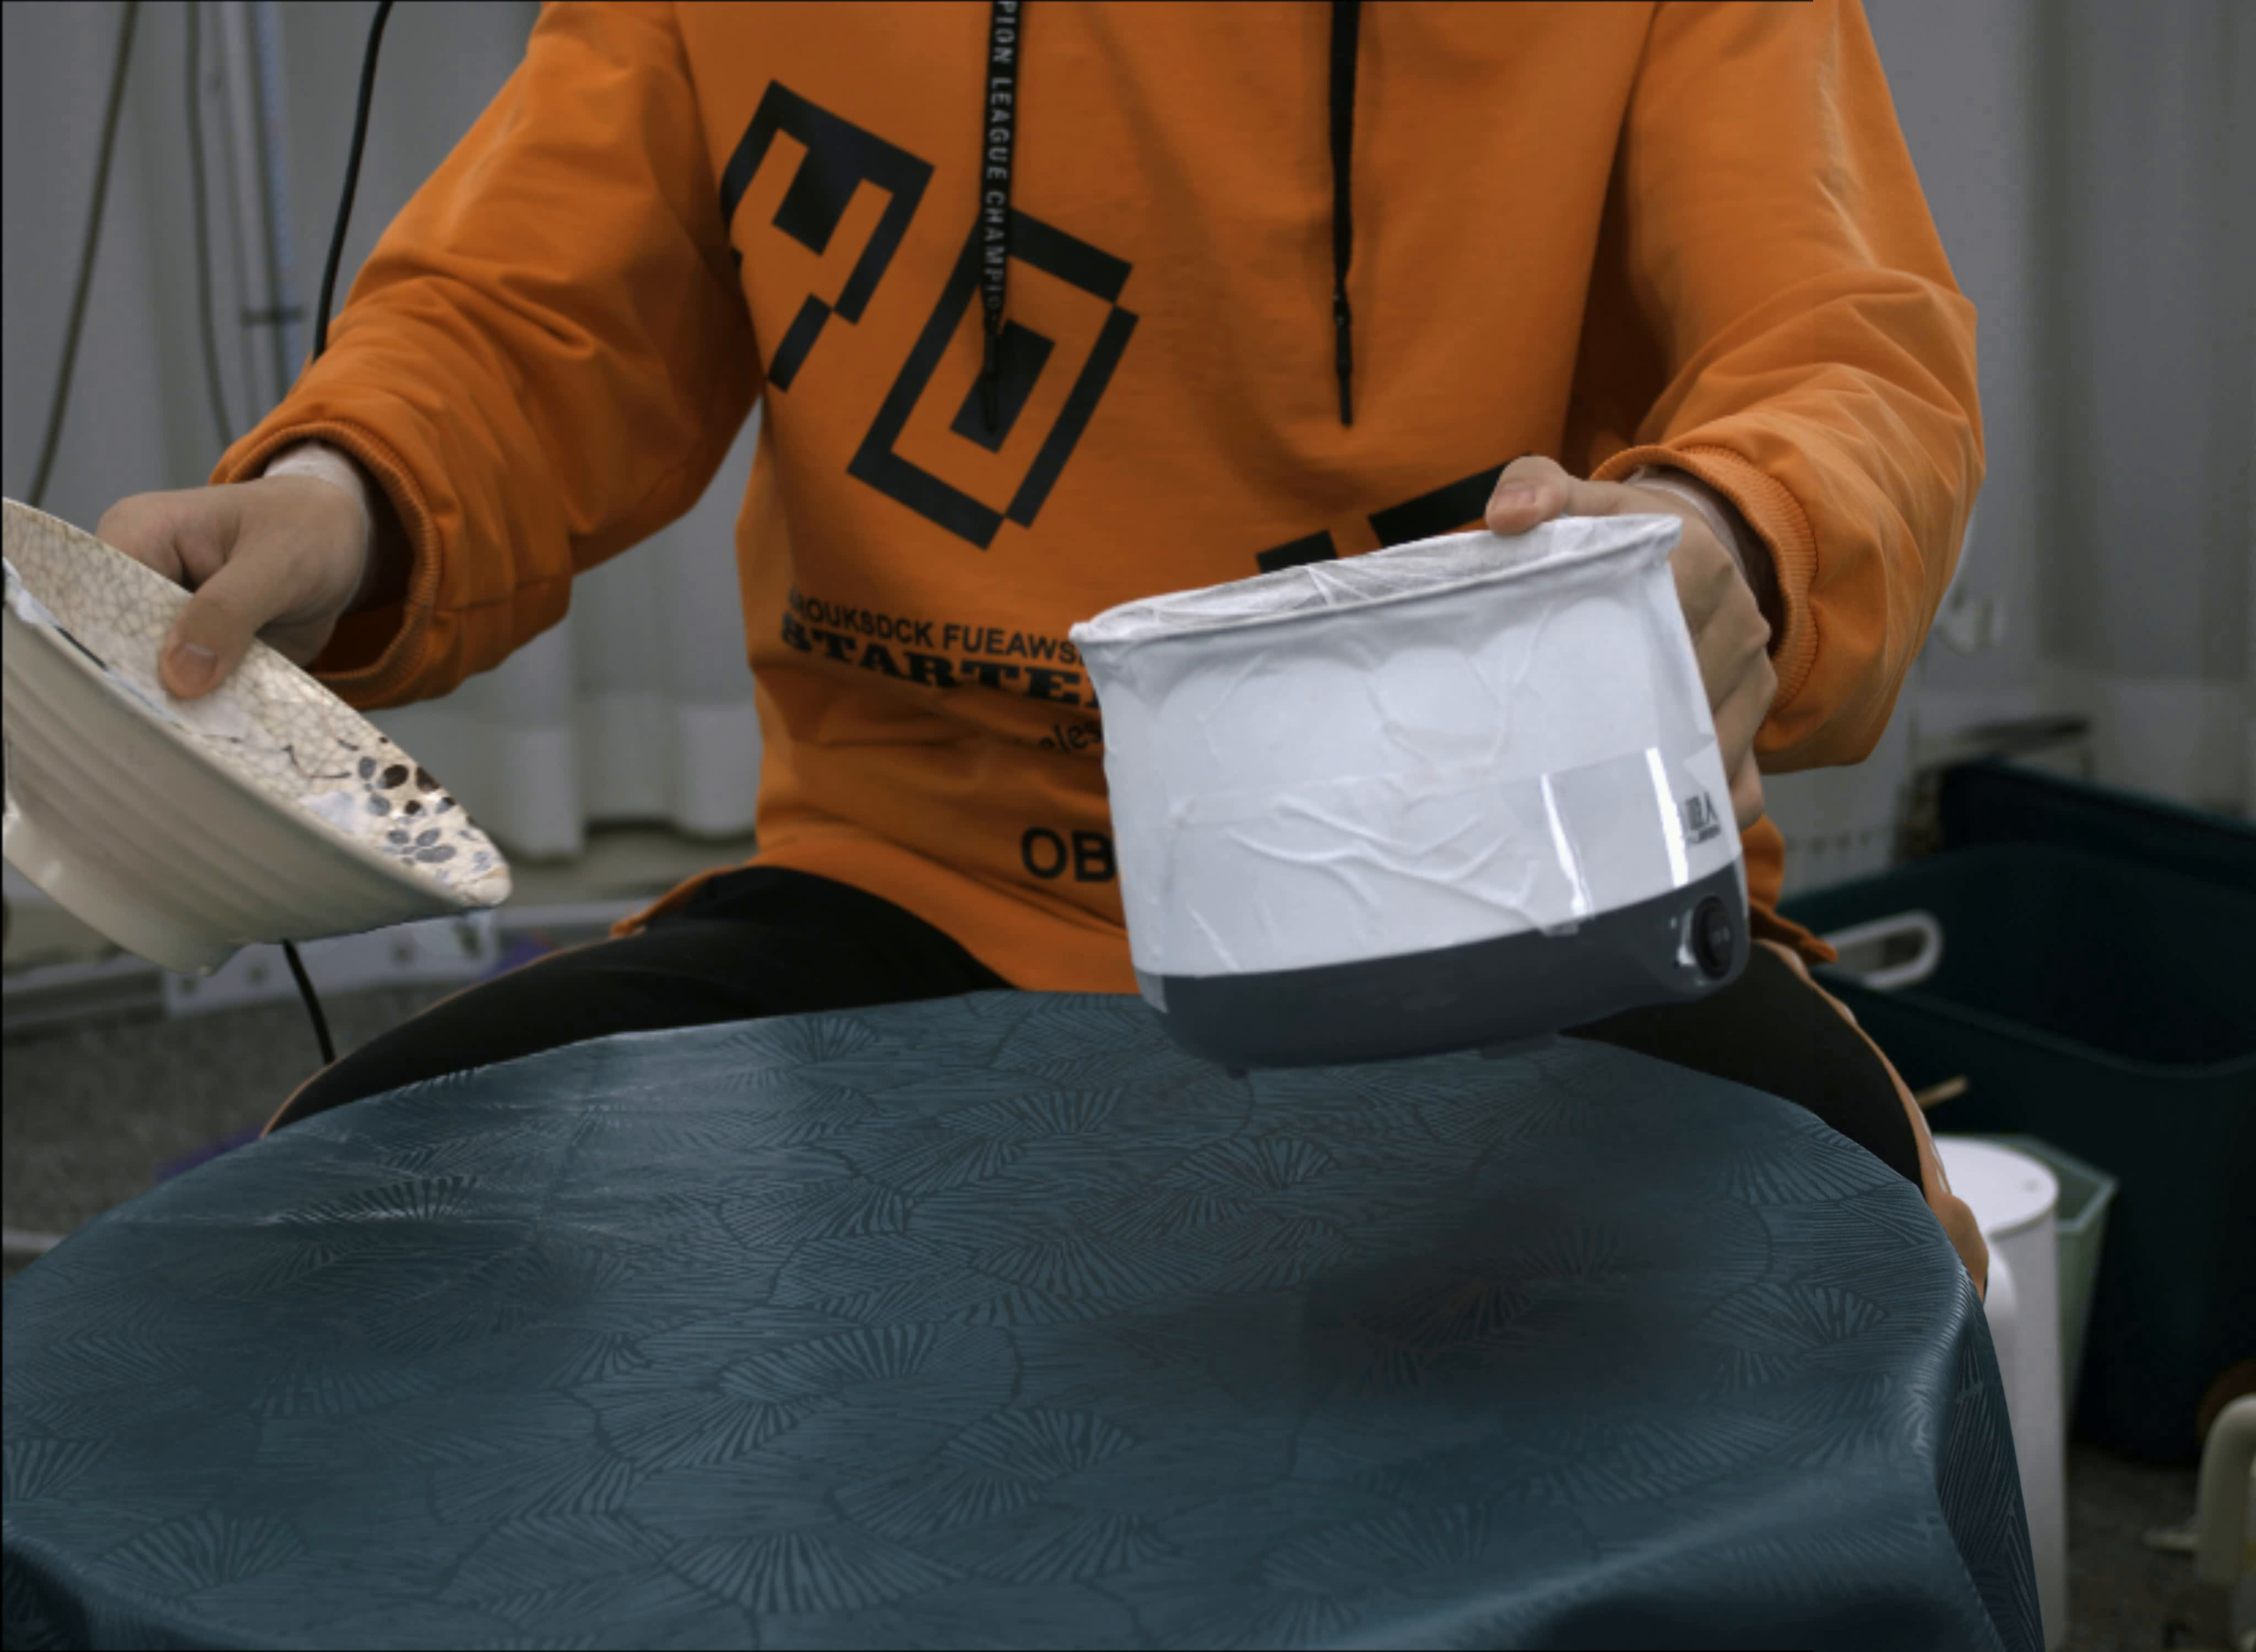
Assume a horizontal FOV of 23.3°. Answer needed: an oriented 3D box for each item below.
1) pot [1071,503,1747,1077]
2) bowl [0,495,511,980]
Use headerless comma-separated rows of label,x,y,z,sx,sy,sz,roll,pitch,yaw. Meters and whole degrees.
pot,0.096,-0.015,1.578,0.179,0.136,0.233,-6,8,33
bowl,-0.288,-0.010,1.645,0.203,0.078,0.204,37,4,-3
